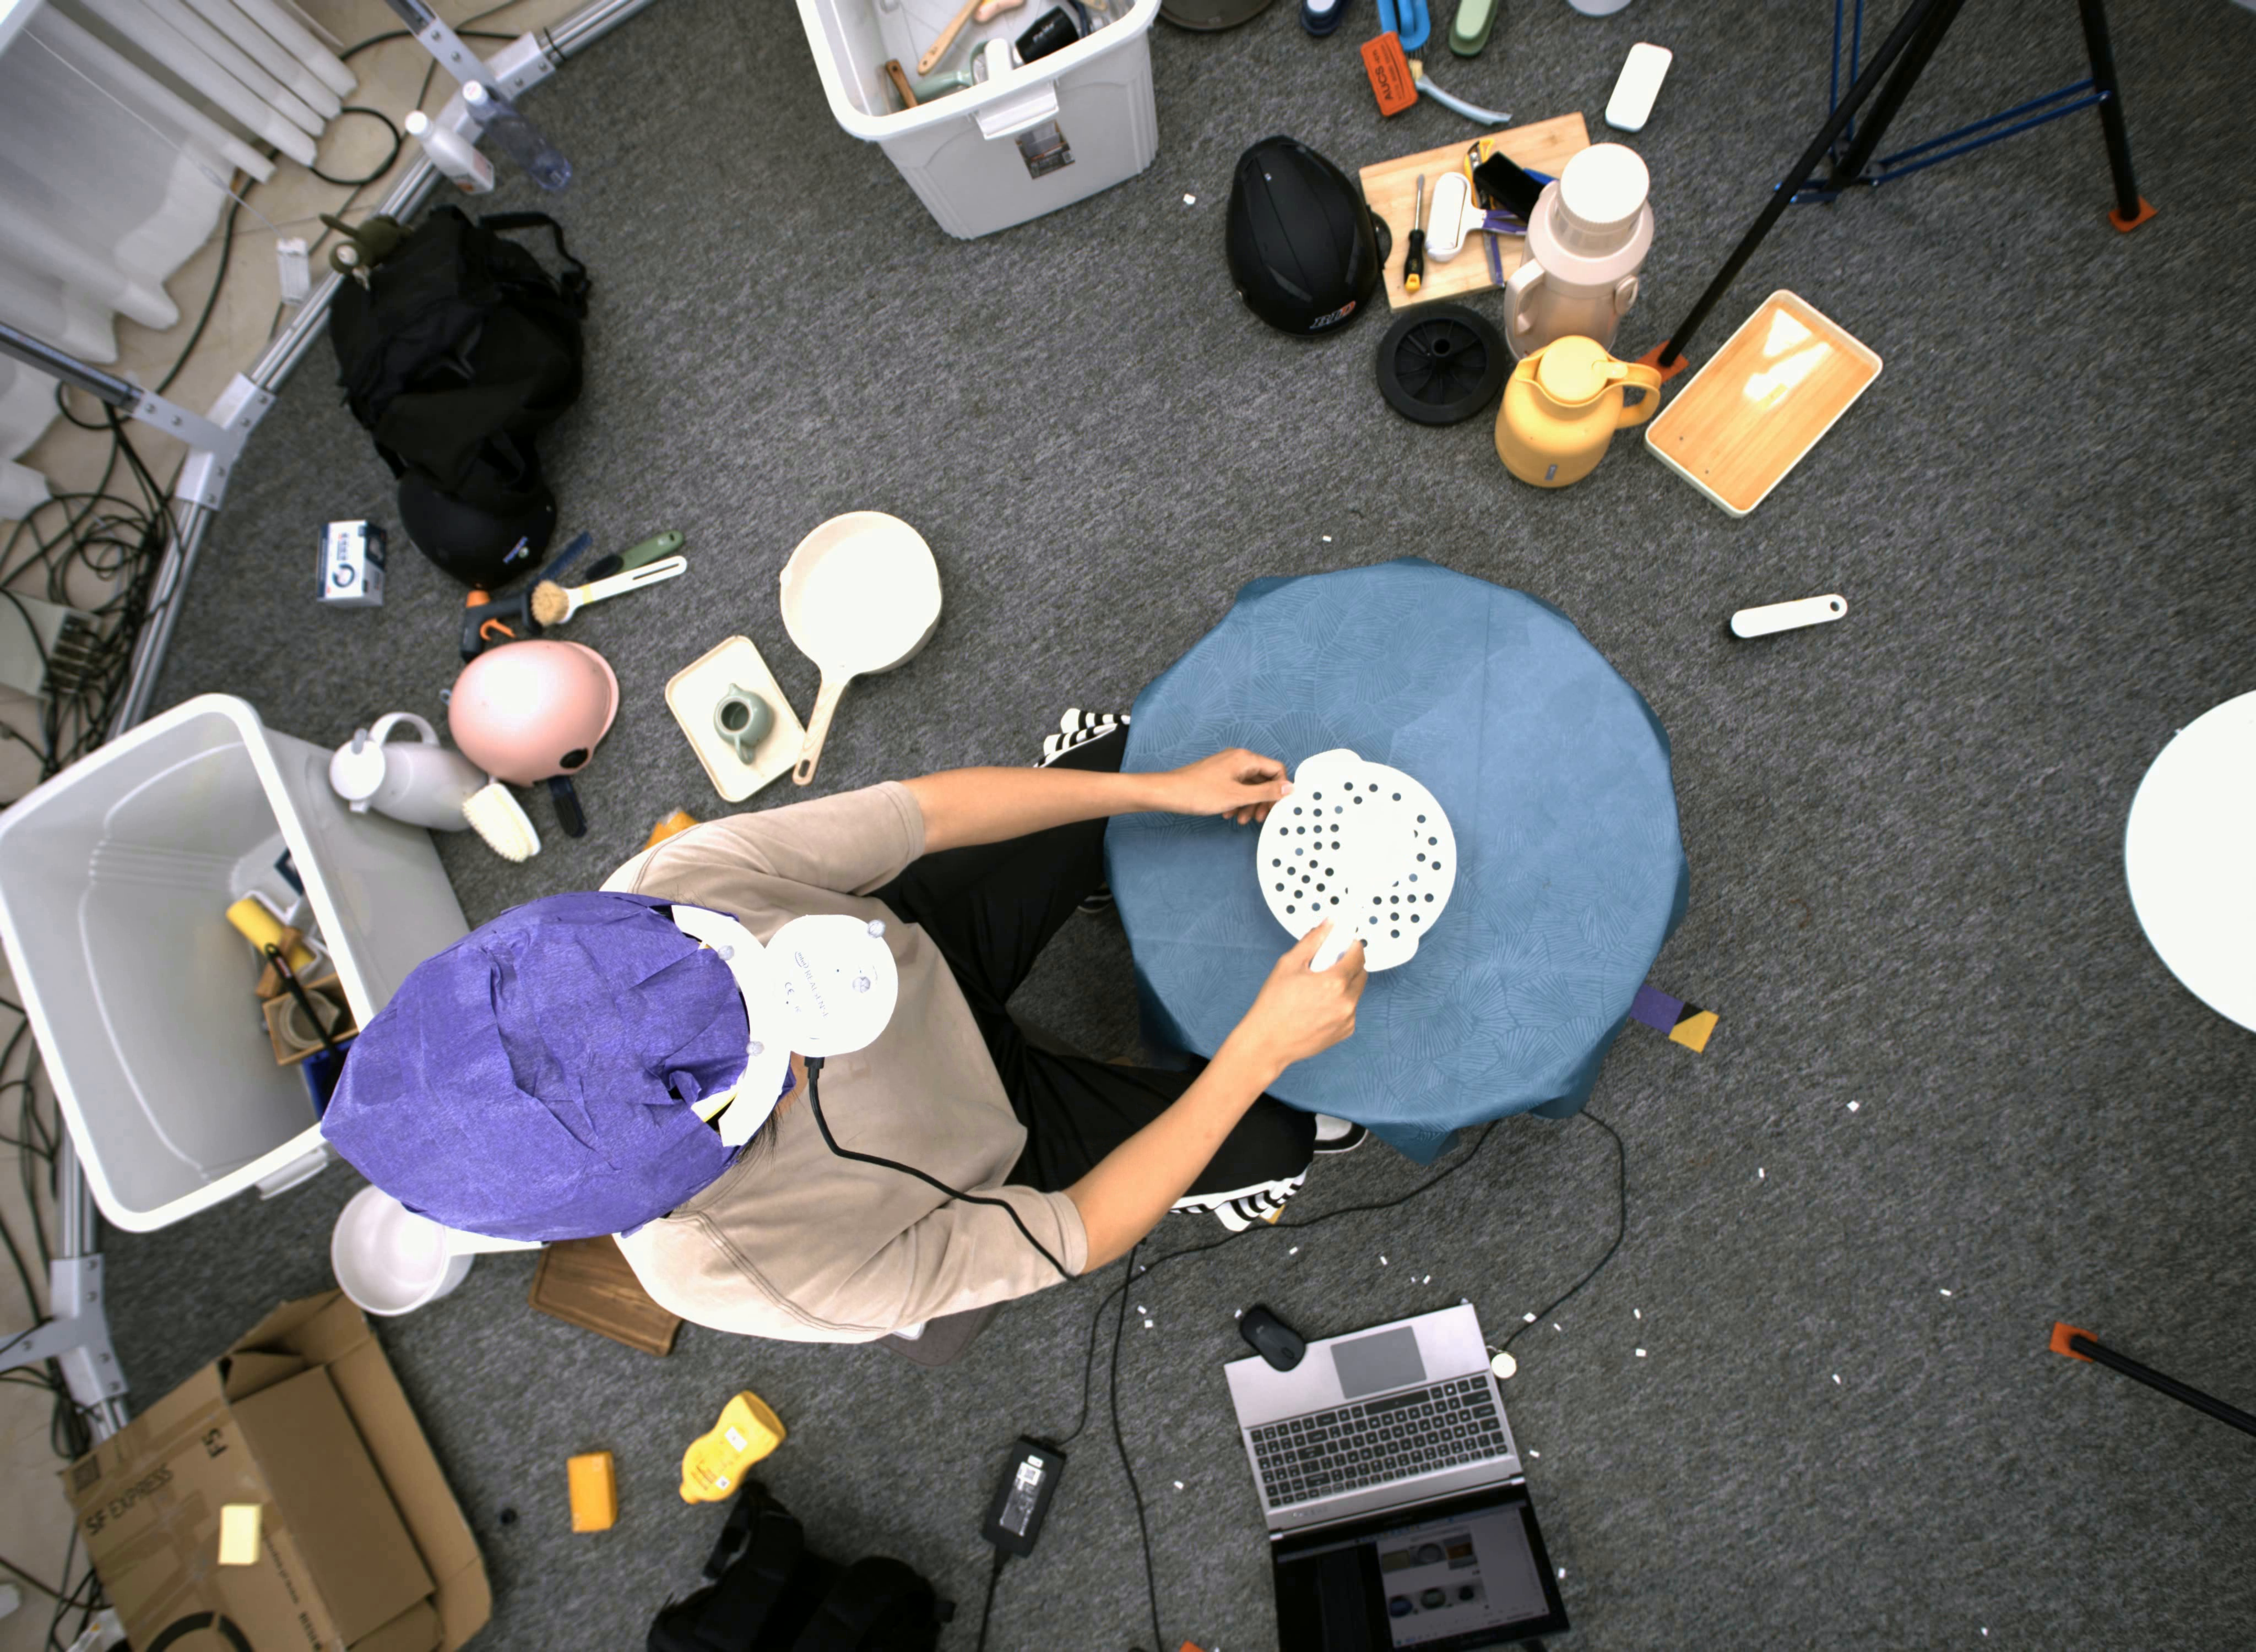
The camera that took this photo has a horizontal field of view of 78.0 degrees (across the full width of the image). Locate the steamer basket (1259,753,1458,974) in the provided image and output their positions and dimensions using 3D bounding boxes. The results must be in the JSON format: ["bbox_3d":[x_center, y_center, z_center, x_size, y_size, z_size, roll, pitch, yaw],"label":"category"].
[{"bbox_3d":[0.239,0.040,1.437,0.203,0.069,0.228,-17,81,9],"label":"steamer basket"}]

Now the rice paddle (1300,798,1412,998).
[{"bbox_3d":[0.210,0.061,1.281,0.069,0.030,0.202,26,72,-3],"label":"rice paddle"}]
